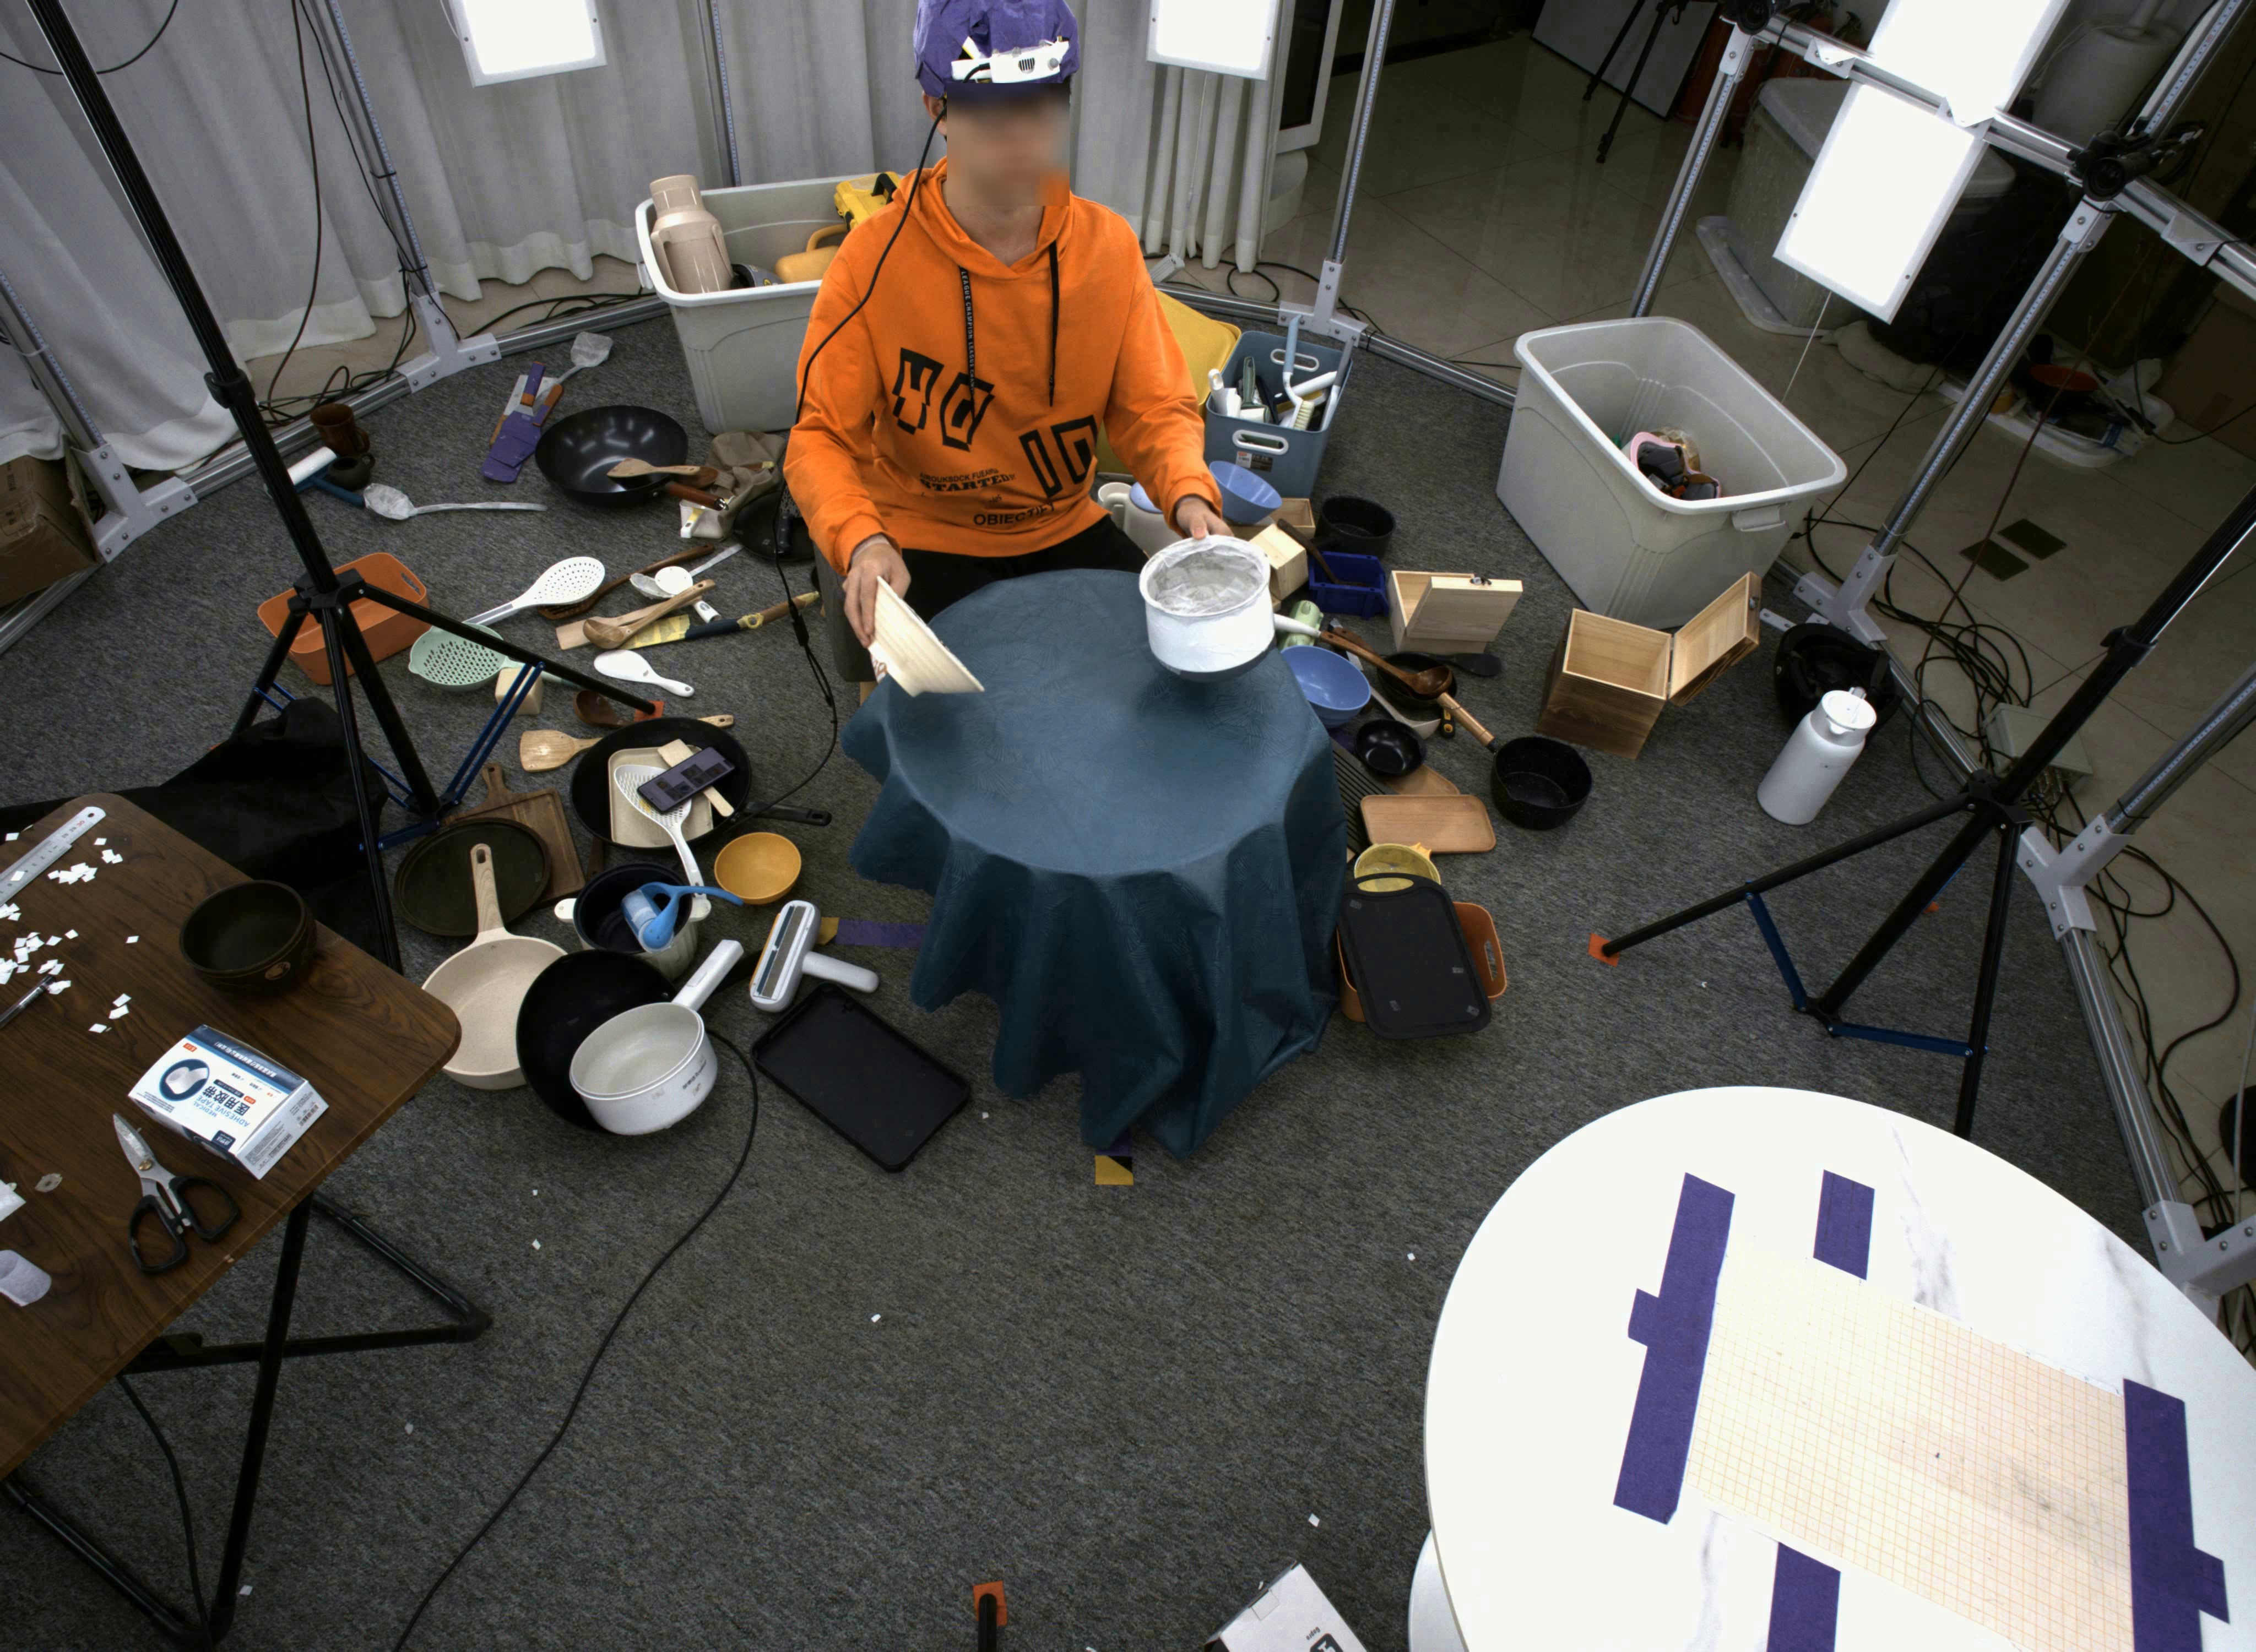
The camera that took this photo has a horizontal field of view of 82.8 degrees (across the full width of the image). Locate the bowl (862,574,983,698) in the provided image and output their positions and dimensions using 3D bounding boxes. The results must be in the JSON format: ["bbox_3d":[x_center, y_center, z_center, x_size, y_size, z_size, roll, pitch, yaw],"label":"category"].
[{"bbox_3d":[-0.283,-0.223,1.662,0.078,0.200,0.207,-44,61,-3],"label":"bowl"}]

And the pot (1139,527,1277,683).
[{"bbox_3d":[0.111,-0.314,1.778,0.178,0.133,0.239,-7,45,4],"label":"pot"}]
